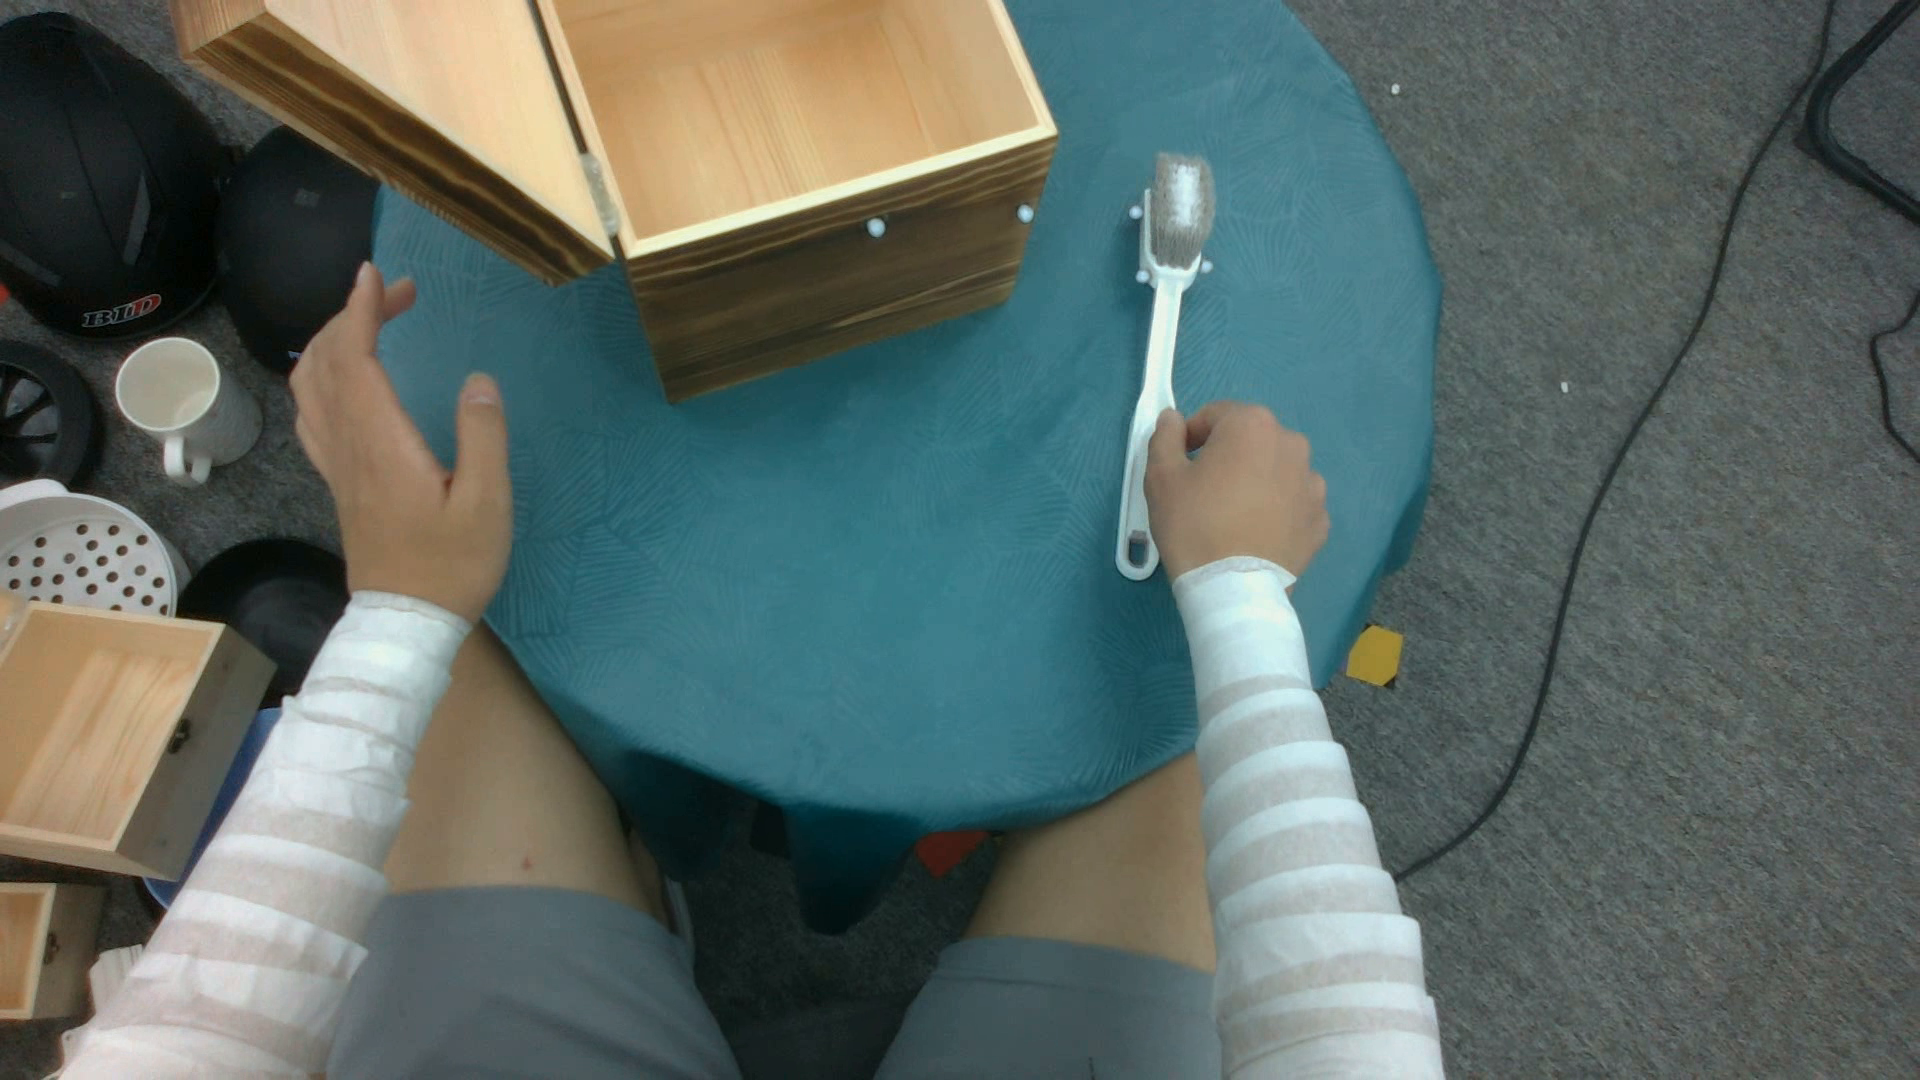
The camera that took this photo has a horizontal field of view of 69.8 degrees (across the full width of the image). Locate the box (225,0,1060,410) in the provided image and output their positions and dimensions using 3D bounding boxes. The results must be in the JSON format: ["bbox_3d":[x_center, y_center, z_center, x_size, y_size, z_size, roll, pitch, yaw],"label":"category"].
[{"bbox_3d":[-0.129,-0.222,0.617,0.322,0.374,0.209,-20,77,-11],"label":"box"}]

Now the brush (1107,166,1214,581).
[{"bbox_3d":[0.111,-0.098,0.766,0.034,0.050,0.244,11,72,-6],"label":"brush"}]
